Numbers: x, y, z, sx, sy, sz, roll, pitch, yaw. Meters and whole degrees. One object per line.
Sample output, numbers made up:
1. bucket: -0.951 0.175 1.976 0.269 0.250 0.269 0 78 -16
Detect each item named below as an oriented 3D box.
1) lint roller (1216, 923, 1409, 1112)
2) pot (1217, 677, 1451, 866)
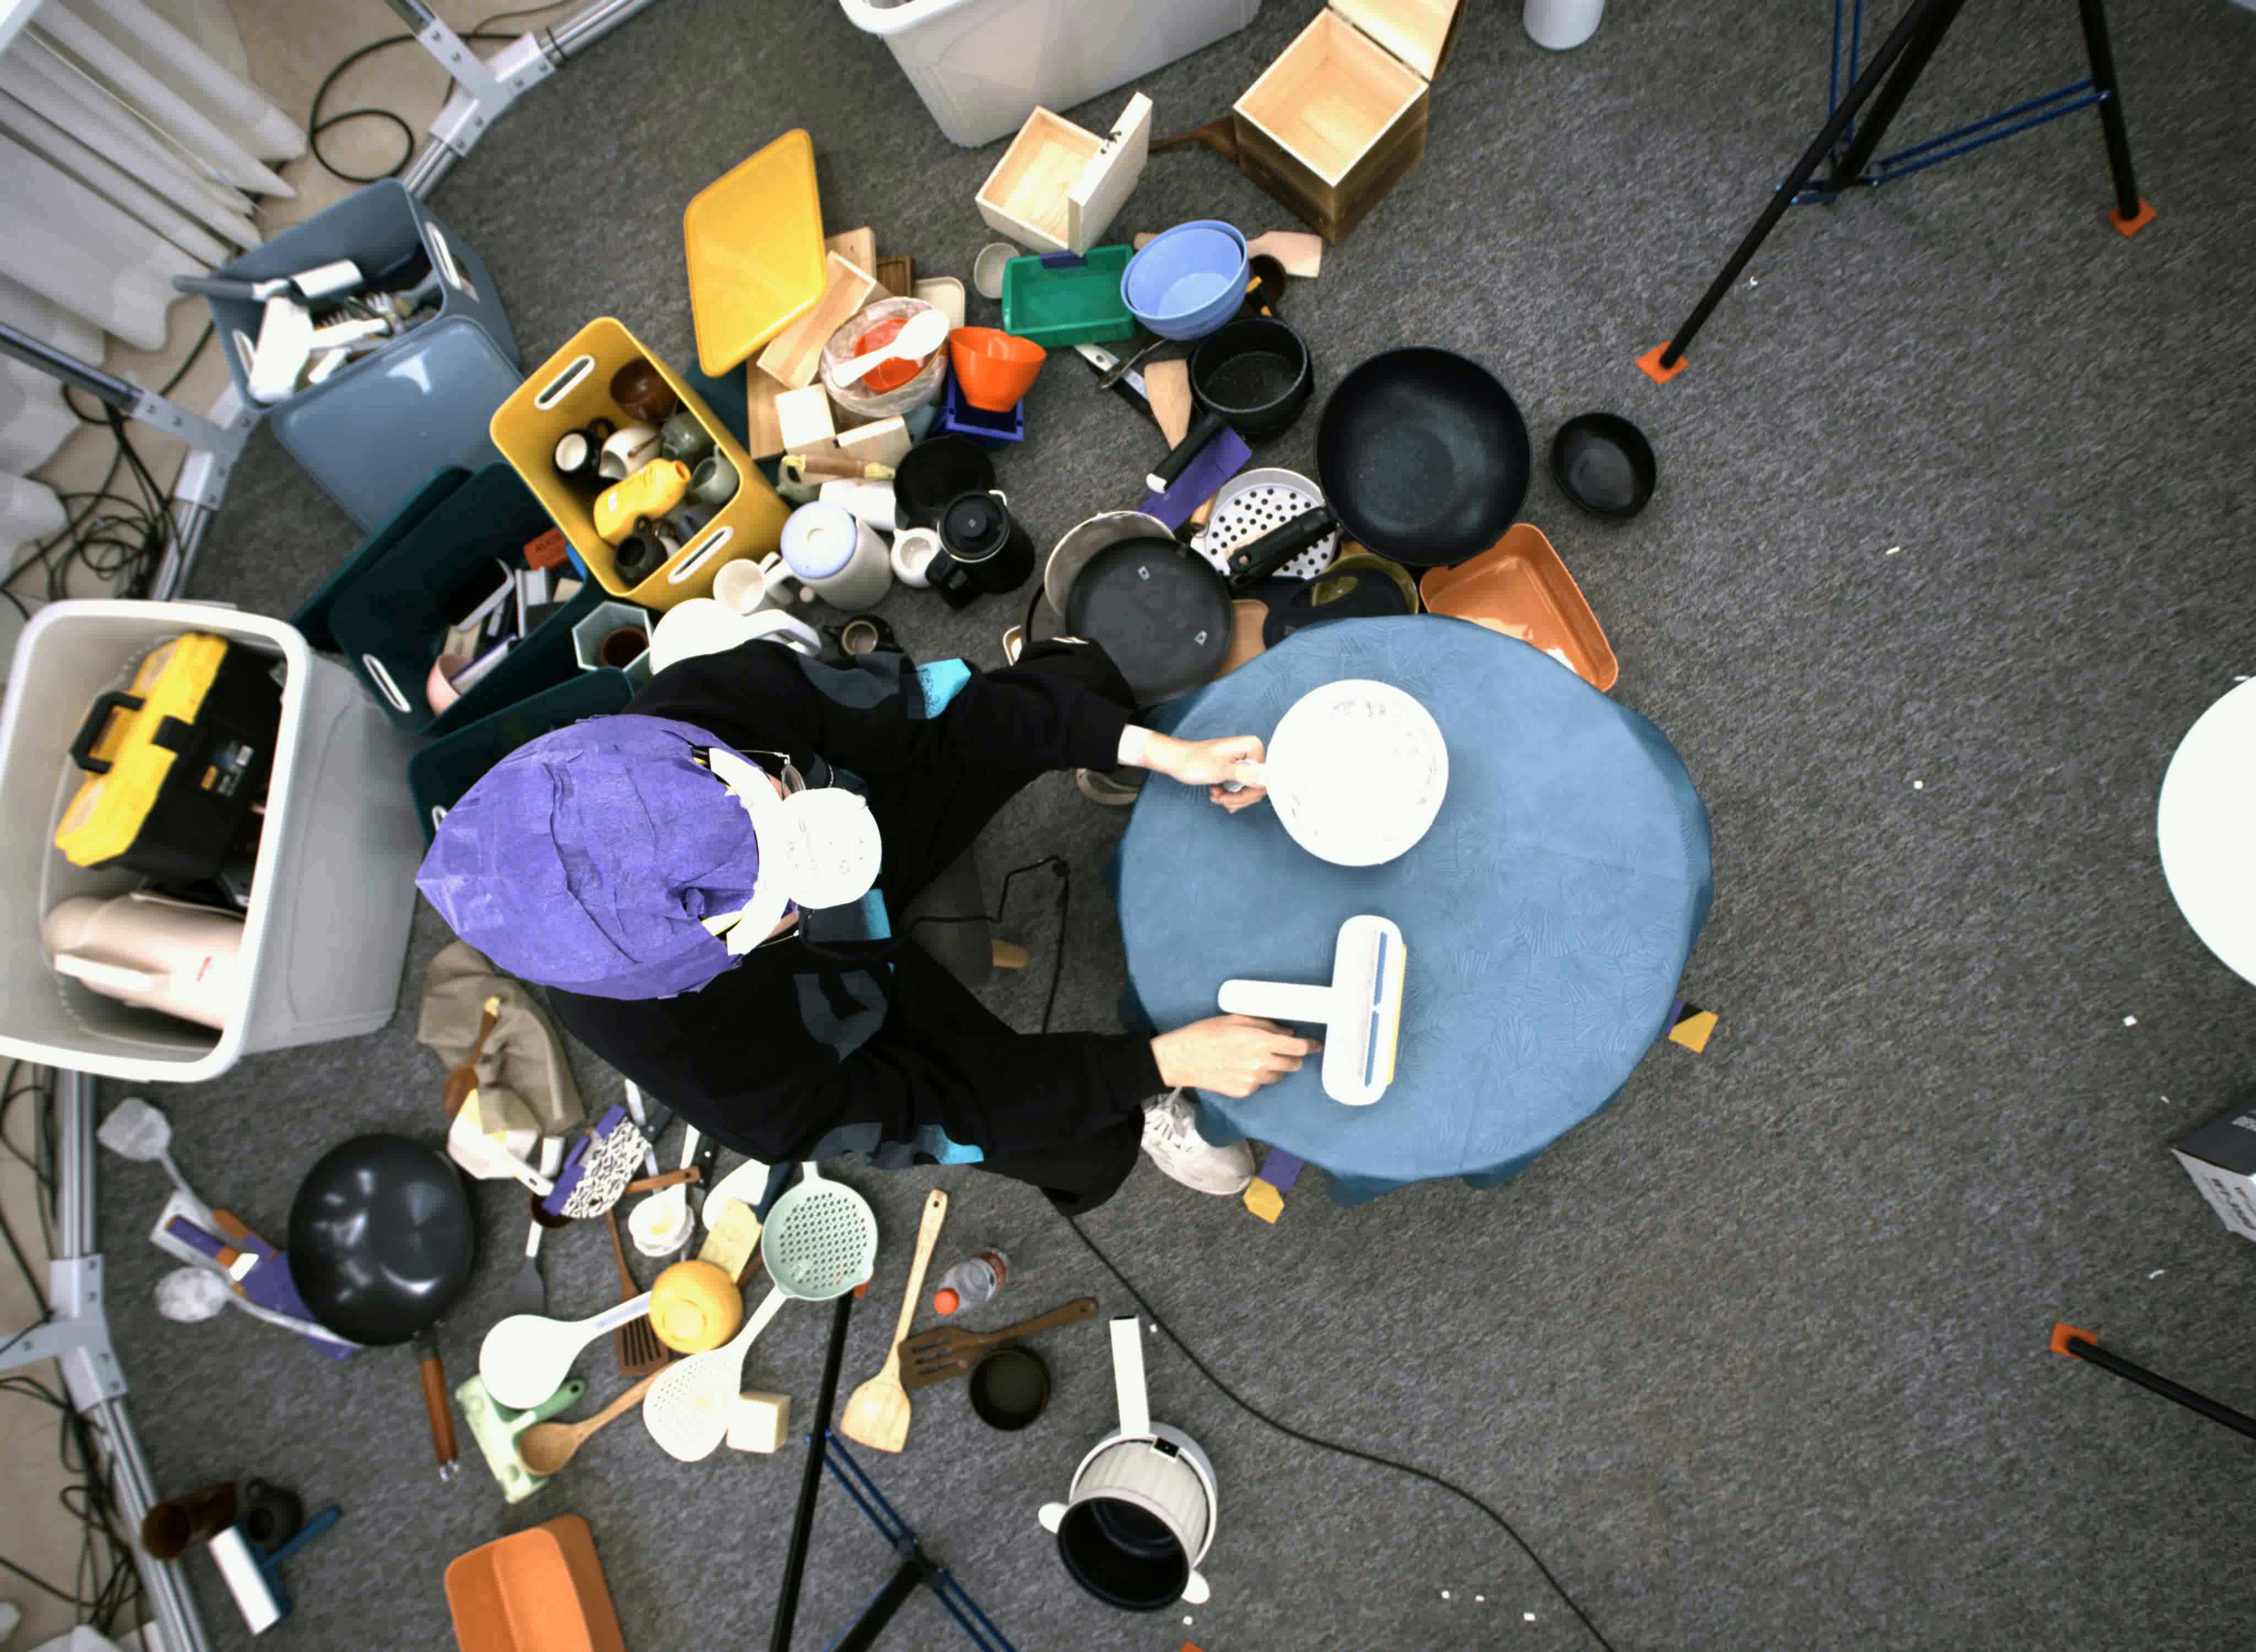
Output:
1. lint roller: 0.183 0.185 1.432 0.193 0.074 0.191 10 83 13
2. pot: 0.205 -0.051 1.402 0.234 0.137 0.177 -1 84 9
